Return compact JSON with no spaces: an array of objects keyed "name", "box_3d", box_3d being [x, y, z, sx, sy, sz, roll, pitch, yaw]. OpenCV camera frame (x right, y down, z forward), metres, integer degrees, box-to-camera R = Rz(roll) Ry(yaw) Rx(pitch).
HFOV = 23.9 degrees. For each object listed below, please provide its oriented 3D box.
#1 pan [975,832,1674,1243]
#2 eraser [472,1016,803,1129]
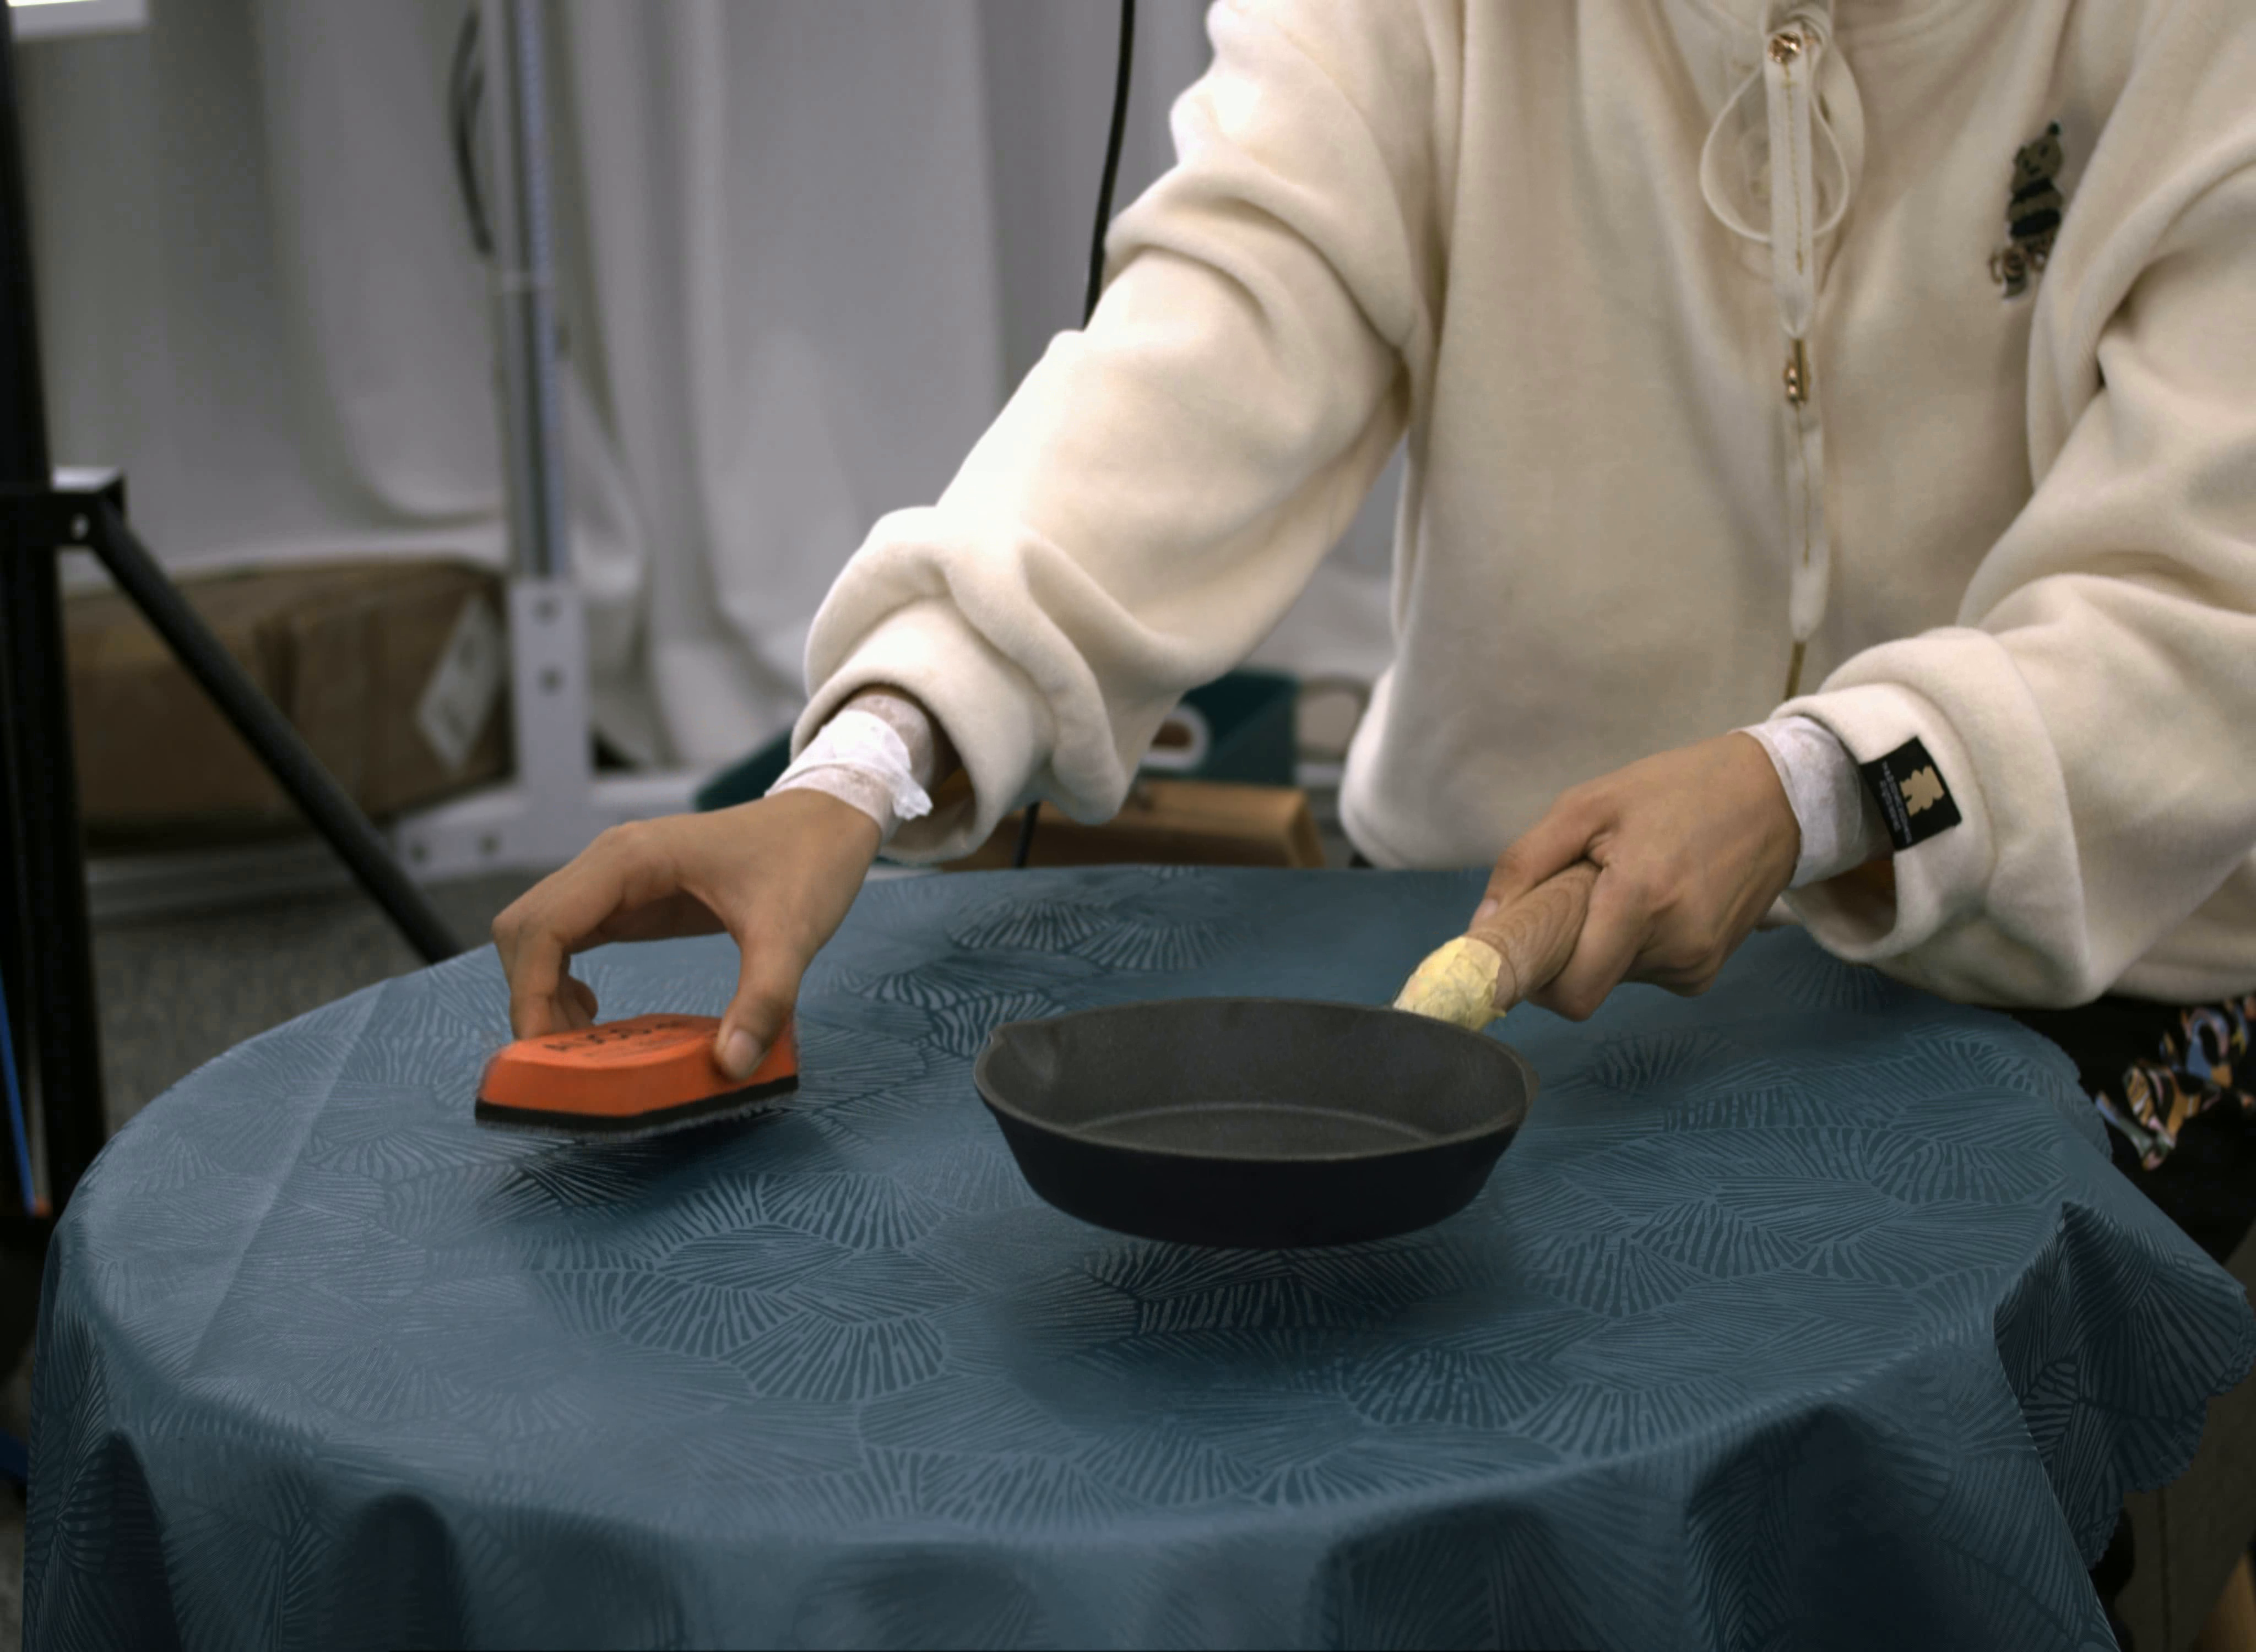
[{"name":"pan","box_3d":[0.081,0.058,1.536,0.172,0.049,0.317,9,17,33]},{"name":"eraser","box_3d":[-0.147,0.074,1.613,0.060,0.023,0.106,2,5,30]}]
